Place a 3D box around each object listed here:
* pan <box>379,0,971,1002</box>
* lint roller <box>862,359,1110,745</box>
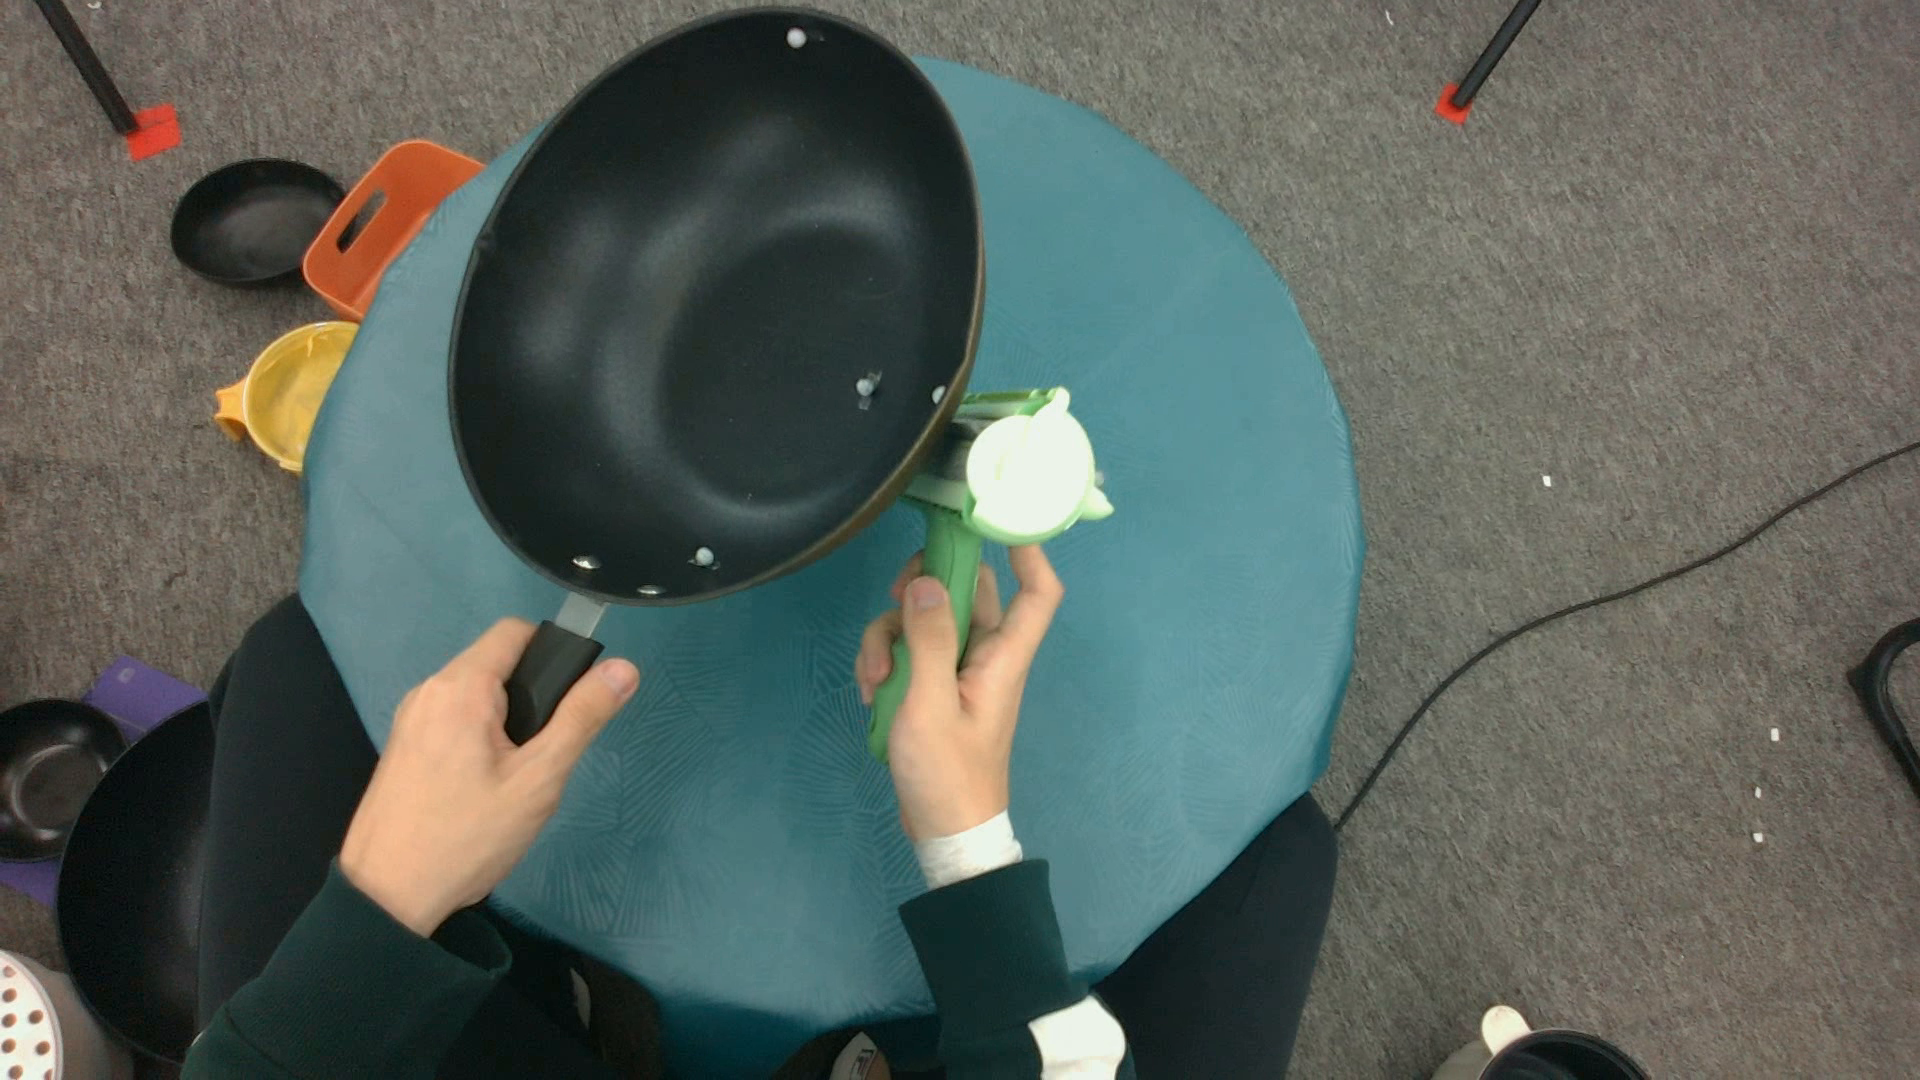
[{"bbox_3d":[-0.141,-0.015,0.628,0.288,0.087,0.463,17,85,28],"label":"pan"},{"bbox_3d":[0.005,0.008,0.640,0.082,0.198,0.183,6,95,-15],"label":"lint roller"}]
